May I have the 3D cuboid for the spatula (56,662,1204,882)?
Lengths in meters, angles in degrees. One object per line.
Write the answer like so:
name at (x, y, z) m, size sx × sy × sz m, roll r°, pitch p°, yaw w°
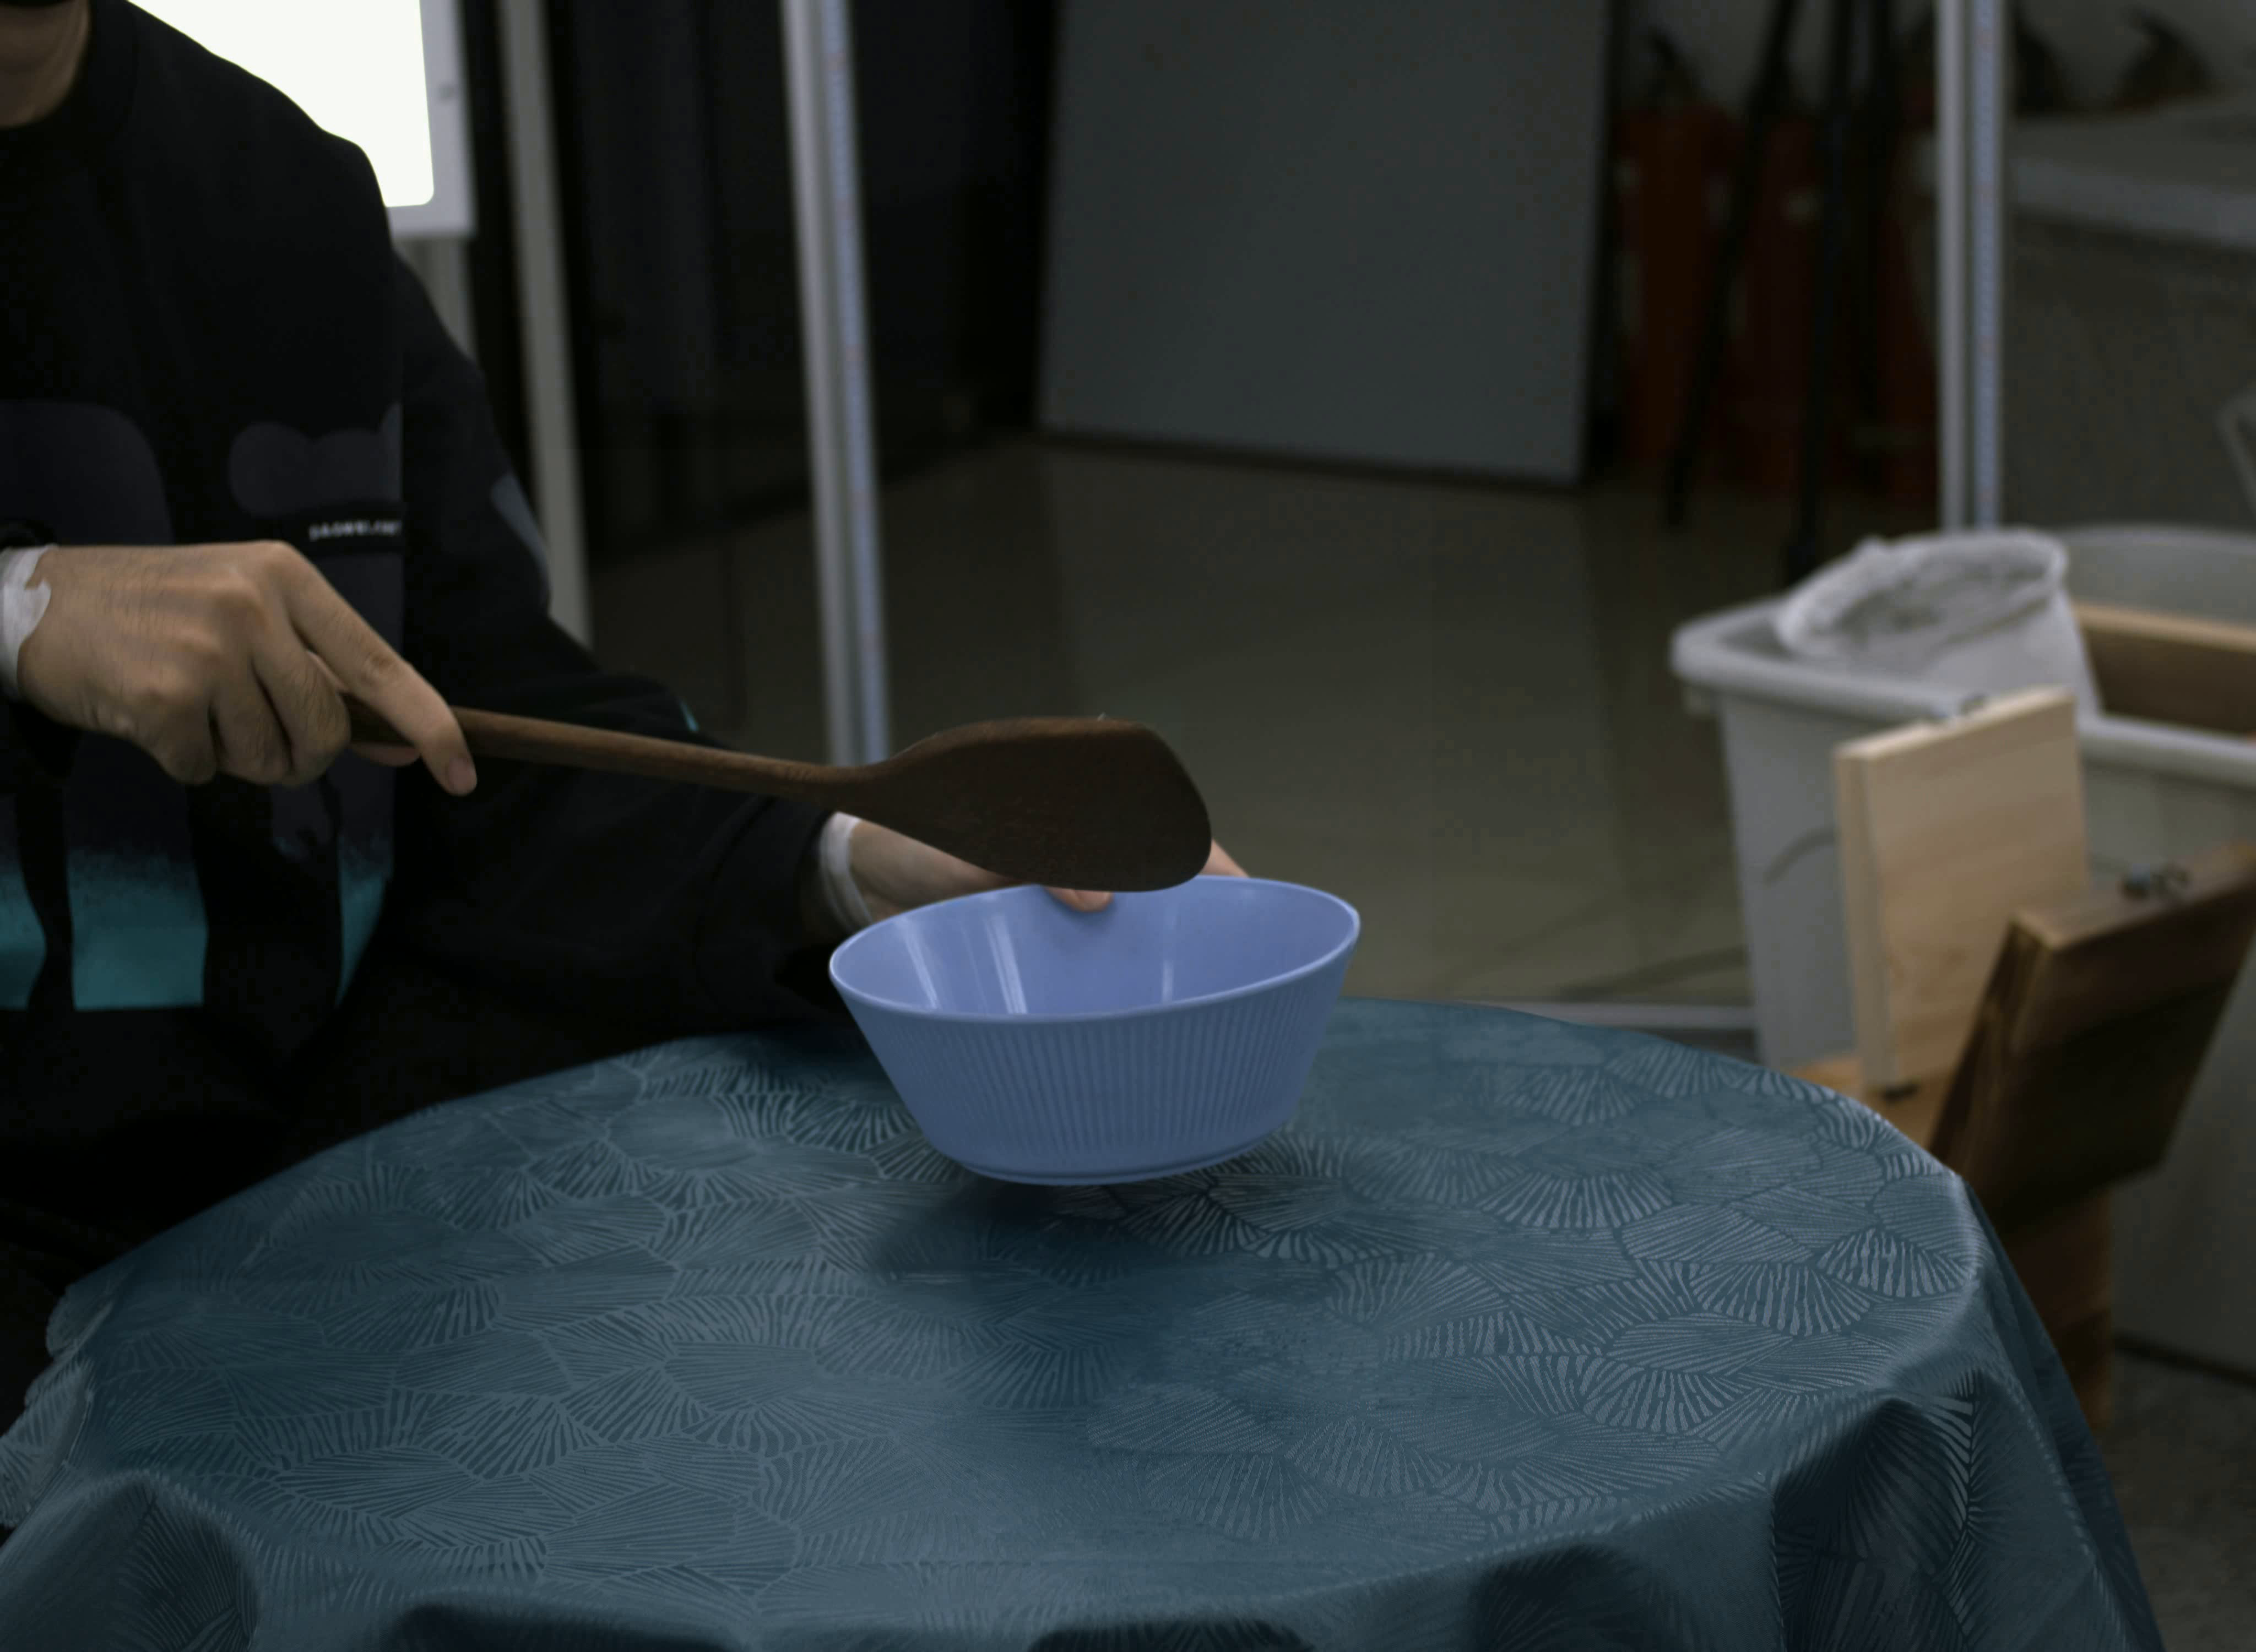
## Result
spatula at (-0.160, -0.024, 1.684) m, size 0.385 × 0.016 × 0.095 m, roll 7°, pitch -28°, yaw 18°

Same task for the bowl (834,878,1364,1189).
bowl at (-0.006, 0.070, 1.758) m, size 0.174 × 0.071 × 0.176 m, roll -6°, pitch 12°, yaw 0°
